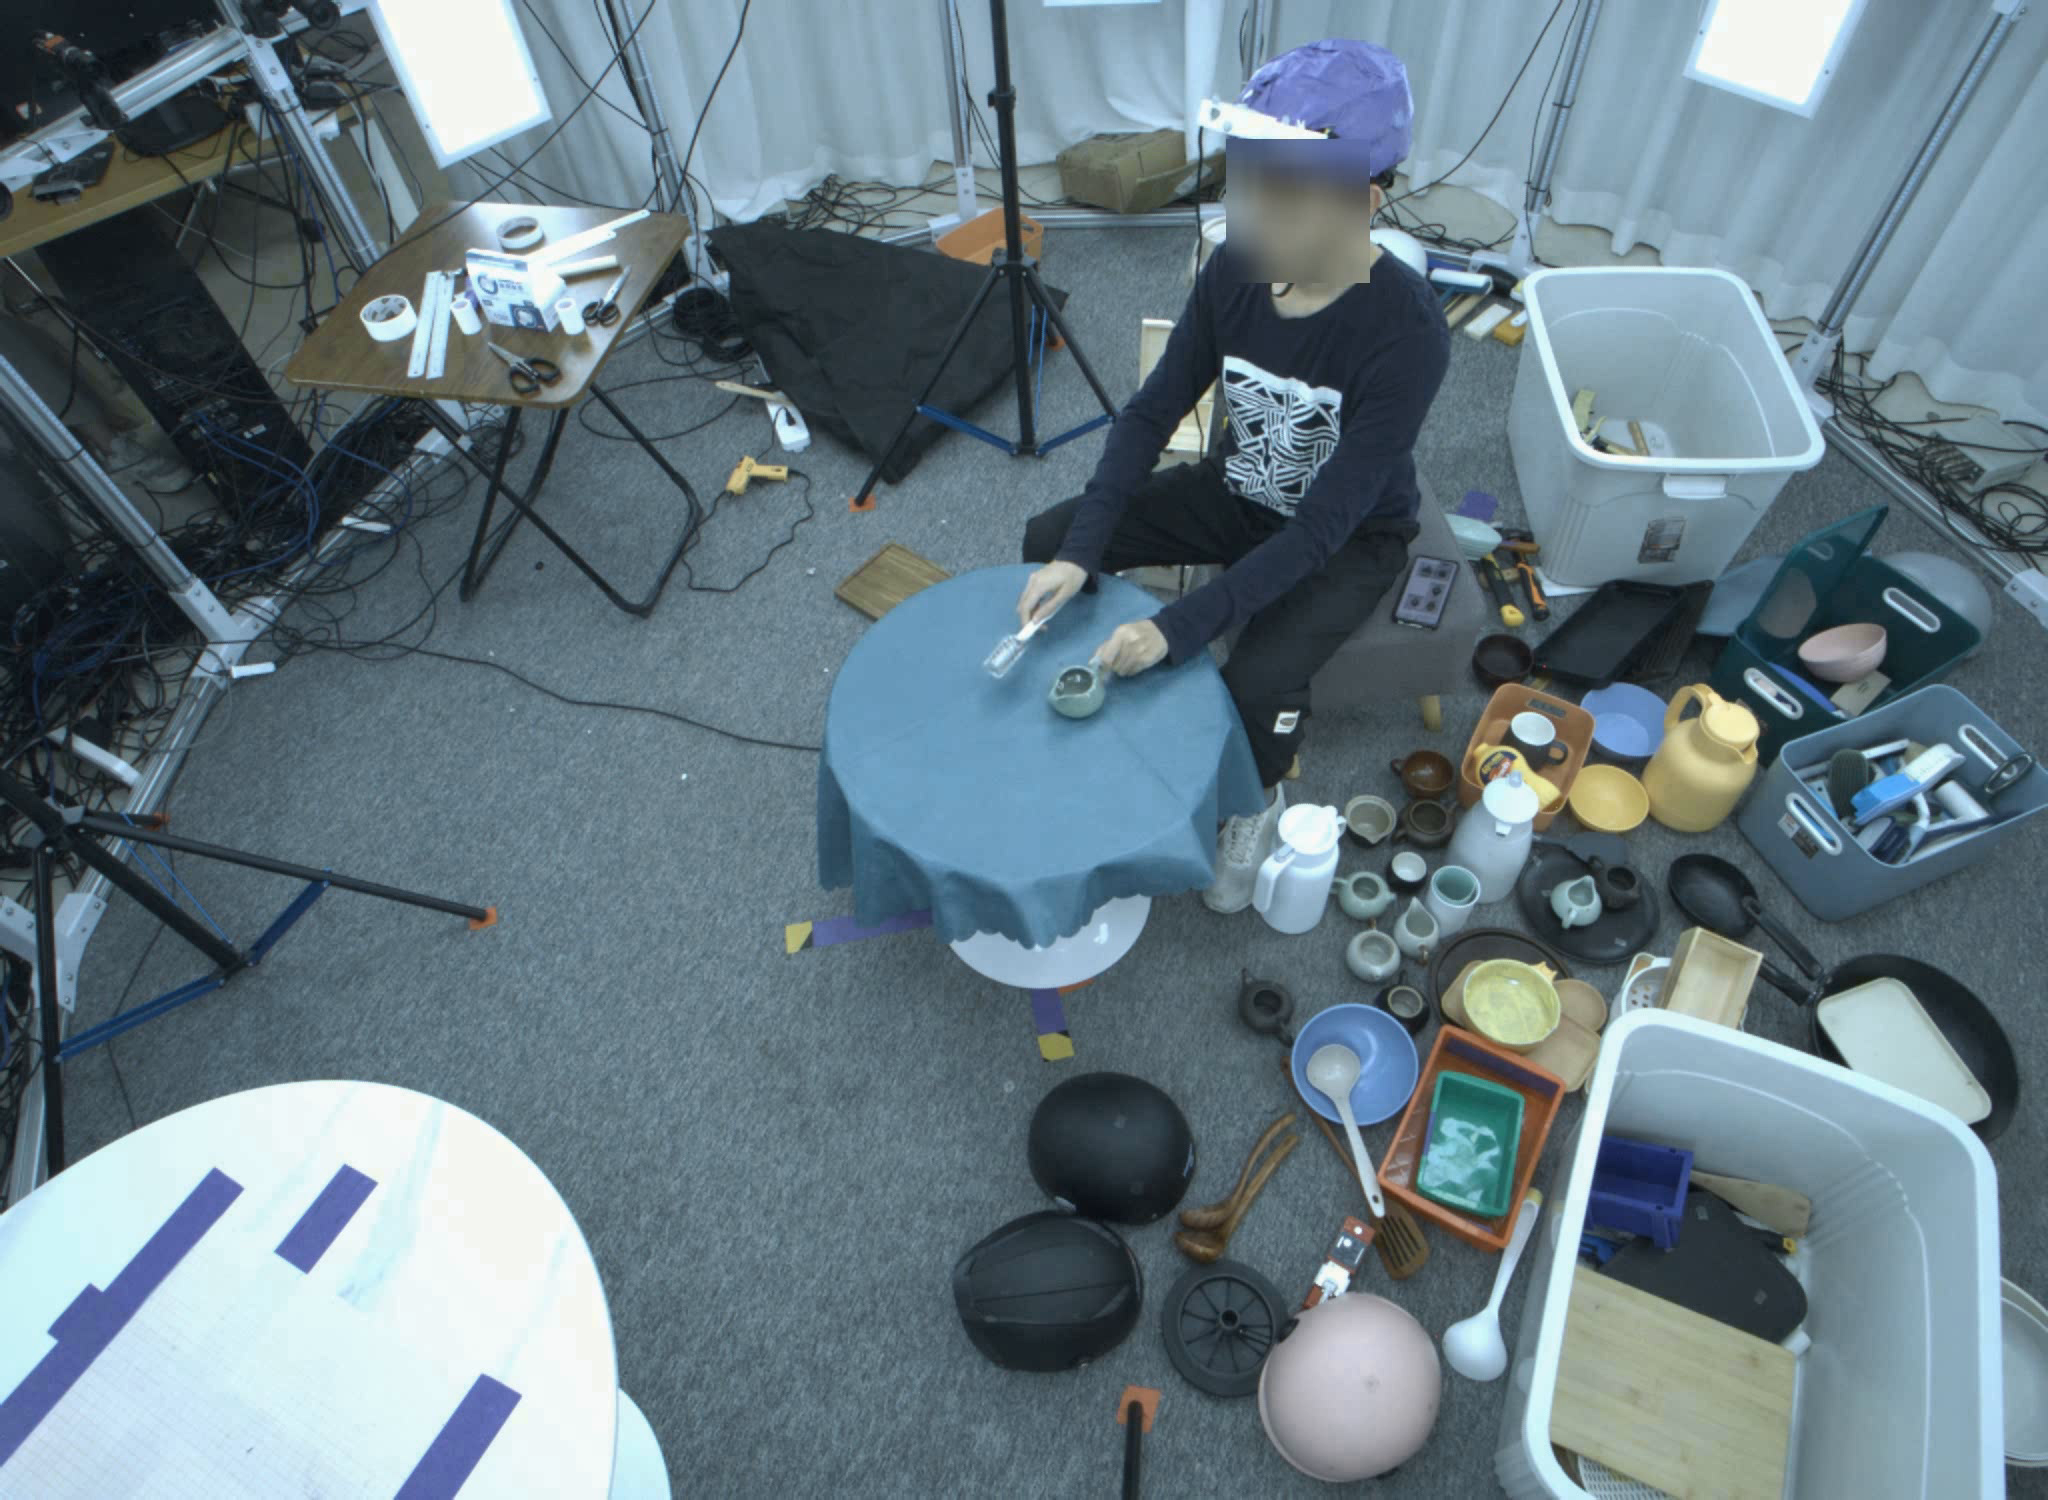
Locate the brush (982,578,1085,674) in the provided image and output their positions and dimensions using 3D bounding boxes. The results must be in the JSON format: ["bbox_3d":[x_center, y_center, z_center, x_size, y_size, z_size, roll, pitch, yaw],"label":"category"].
[{"bbox_3d":[0.021,-0.197,1.855,0.034,0.050,0.245,44,61,3],"label":"brush"}]

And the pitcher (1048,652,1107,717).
[{"bbox_3d":[0.081,-0.096,1.807,0.083,0.056,0.113,39,68,19],"label":"pitcher"}]
